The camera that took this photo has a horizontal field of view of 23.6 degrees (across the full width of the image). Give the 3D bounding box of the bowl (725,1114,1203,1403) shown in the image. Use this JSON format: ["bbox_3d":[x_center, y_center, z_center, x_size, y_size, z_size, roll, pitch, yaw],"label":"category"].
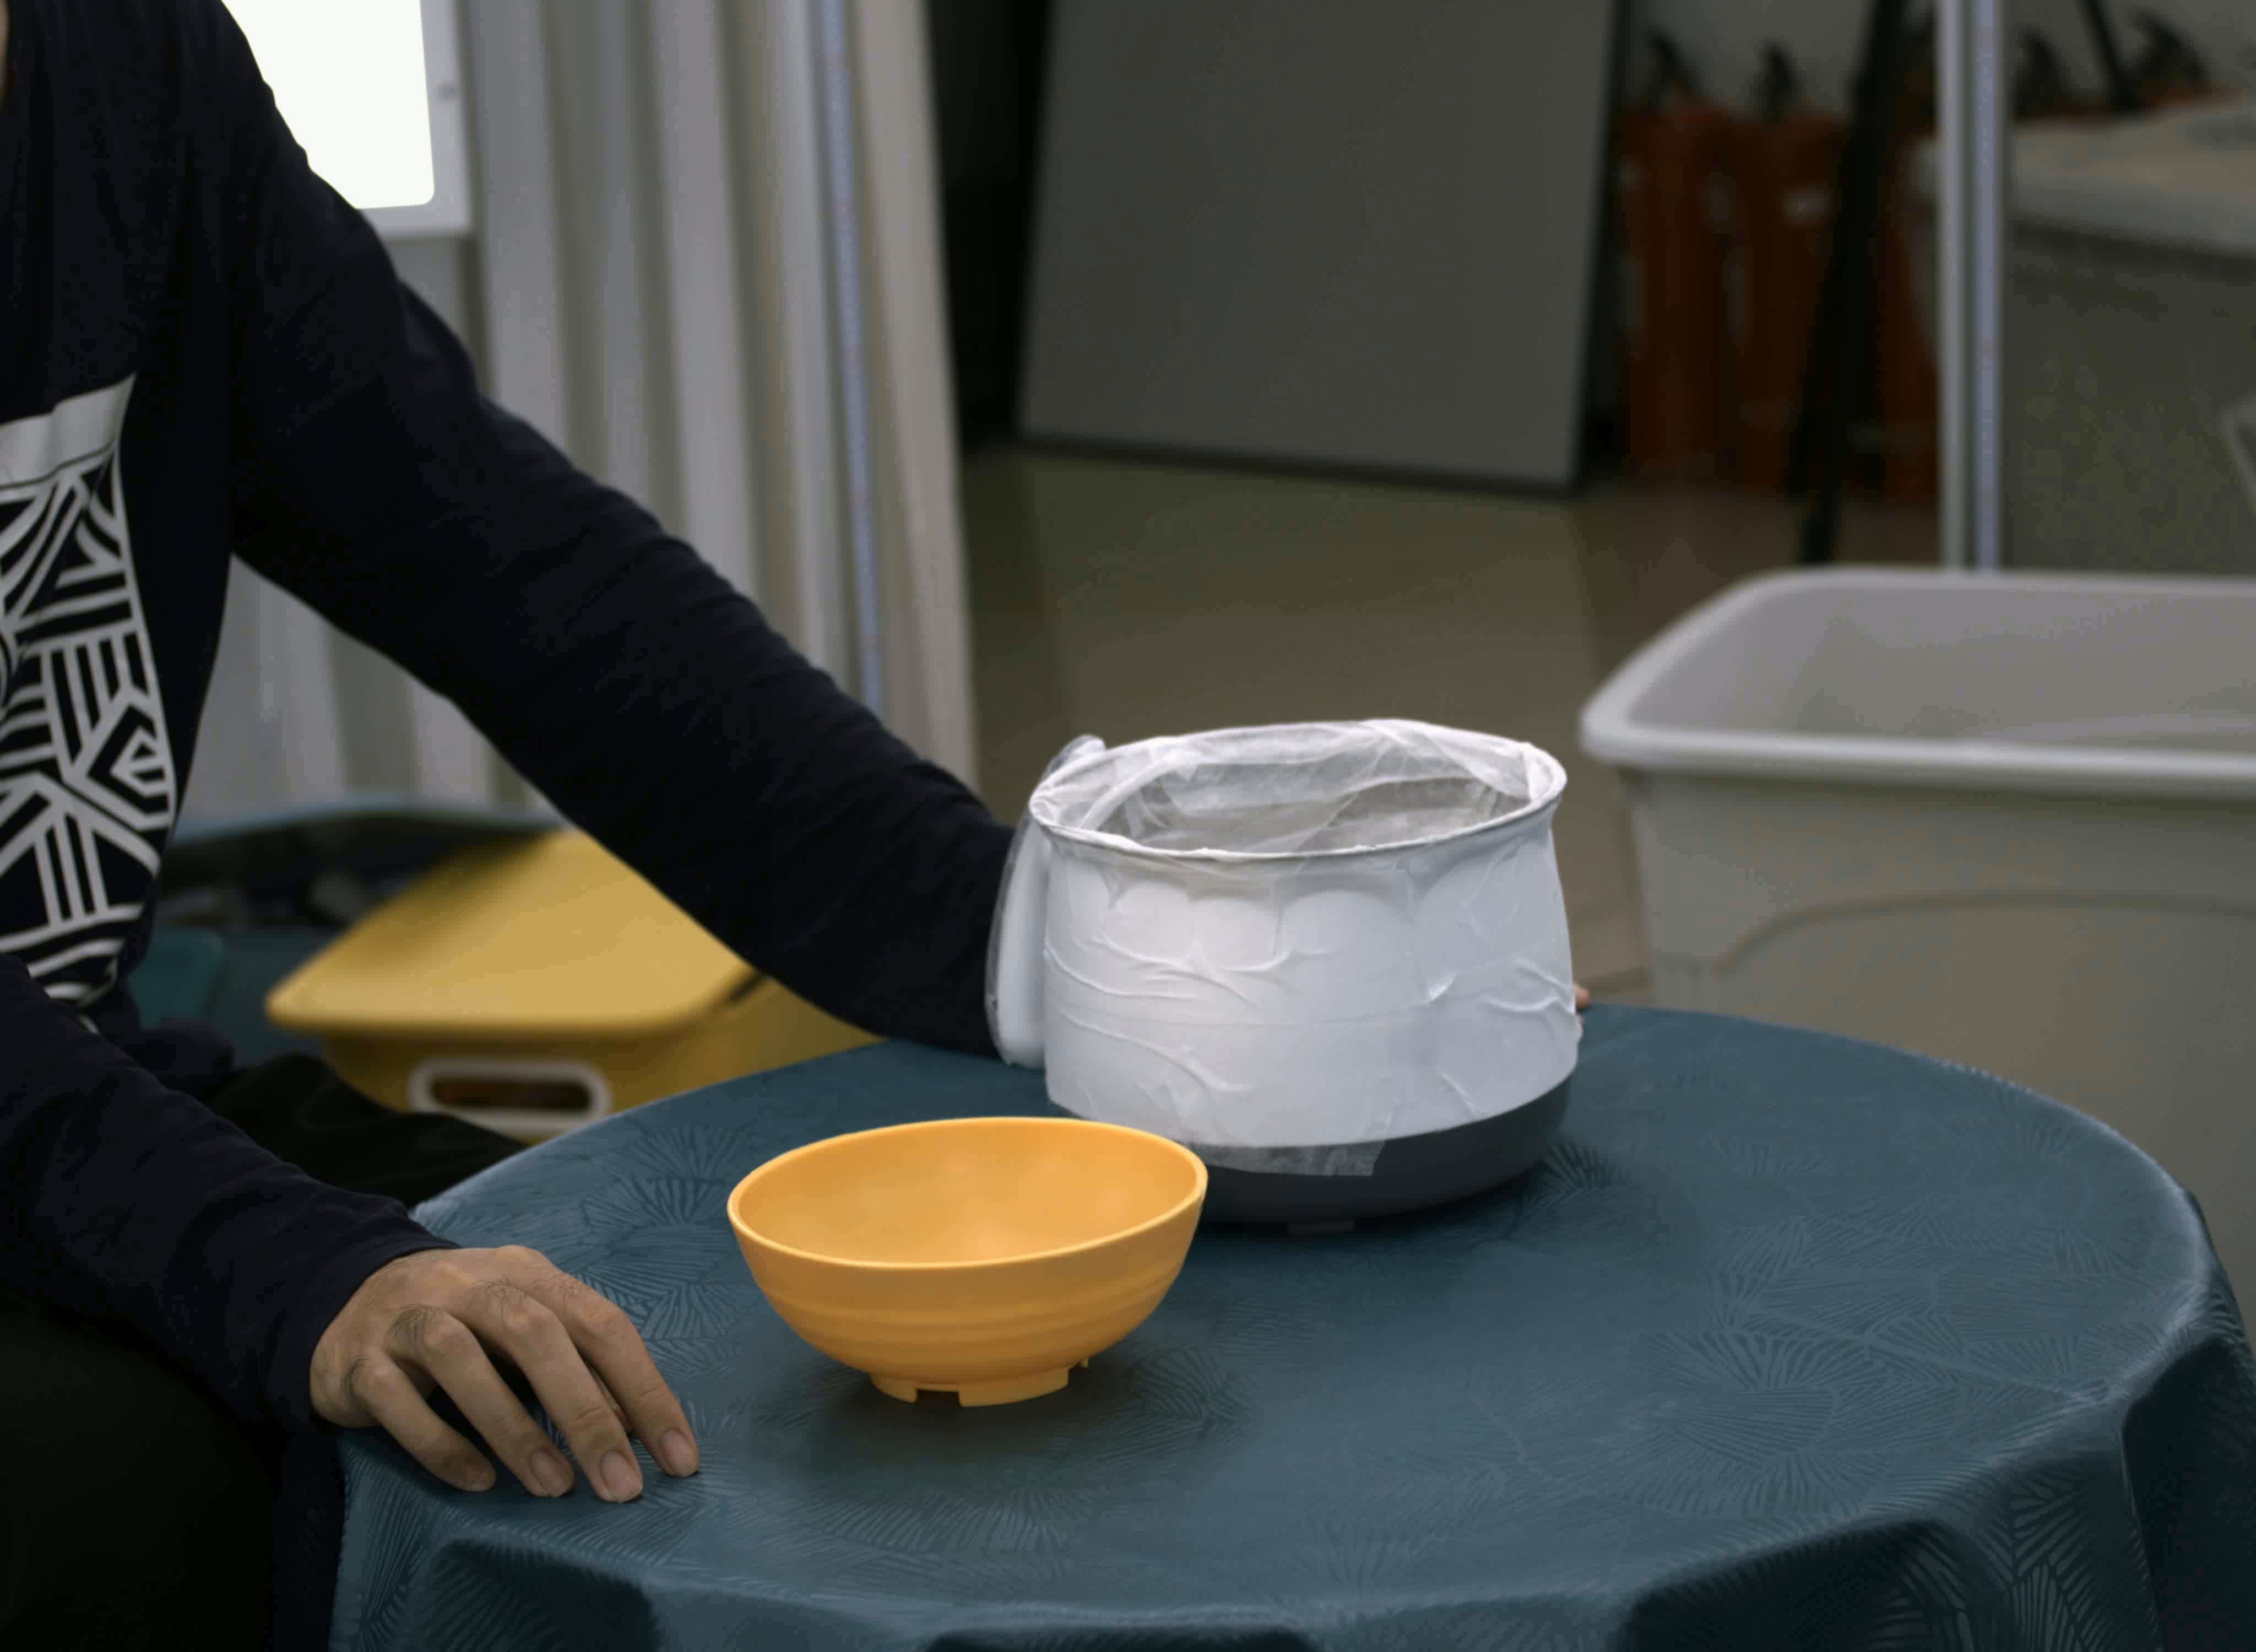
[{"bbox_3d":[-0.048,0.133,1.605,0.143,0.061,0.145,-2,13,0],"label":"bowl"}]

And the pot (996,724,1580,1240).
[{"bbox_3d":[0.040,0.046,1.790,0.175,0.138,0.236,-16,16,-42],"label":"pot"}]
